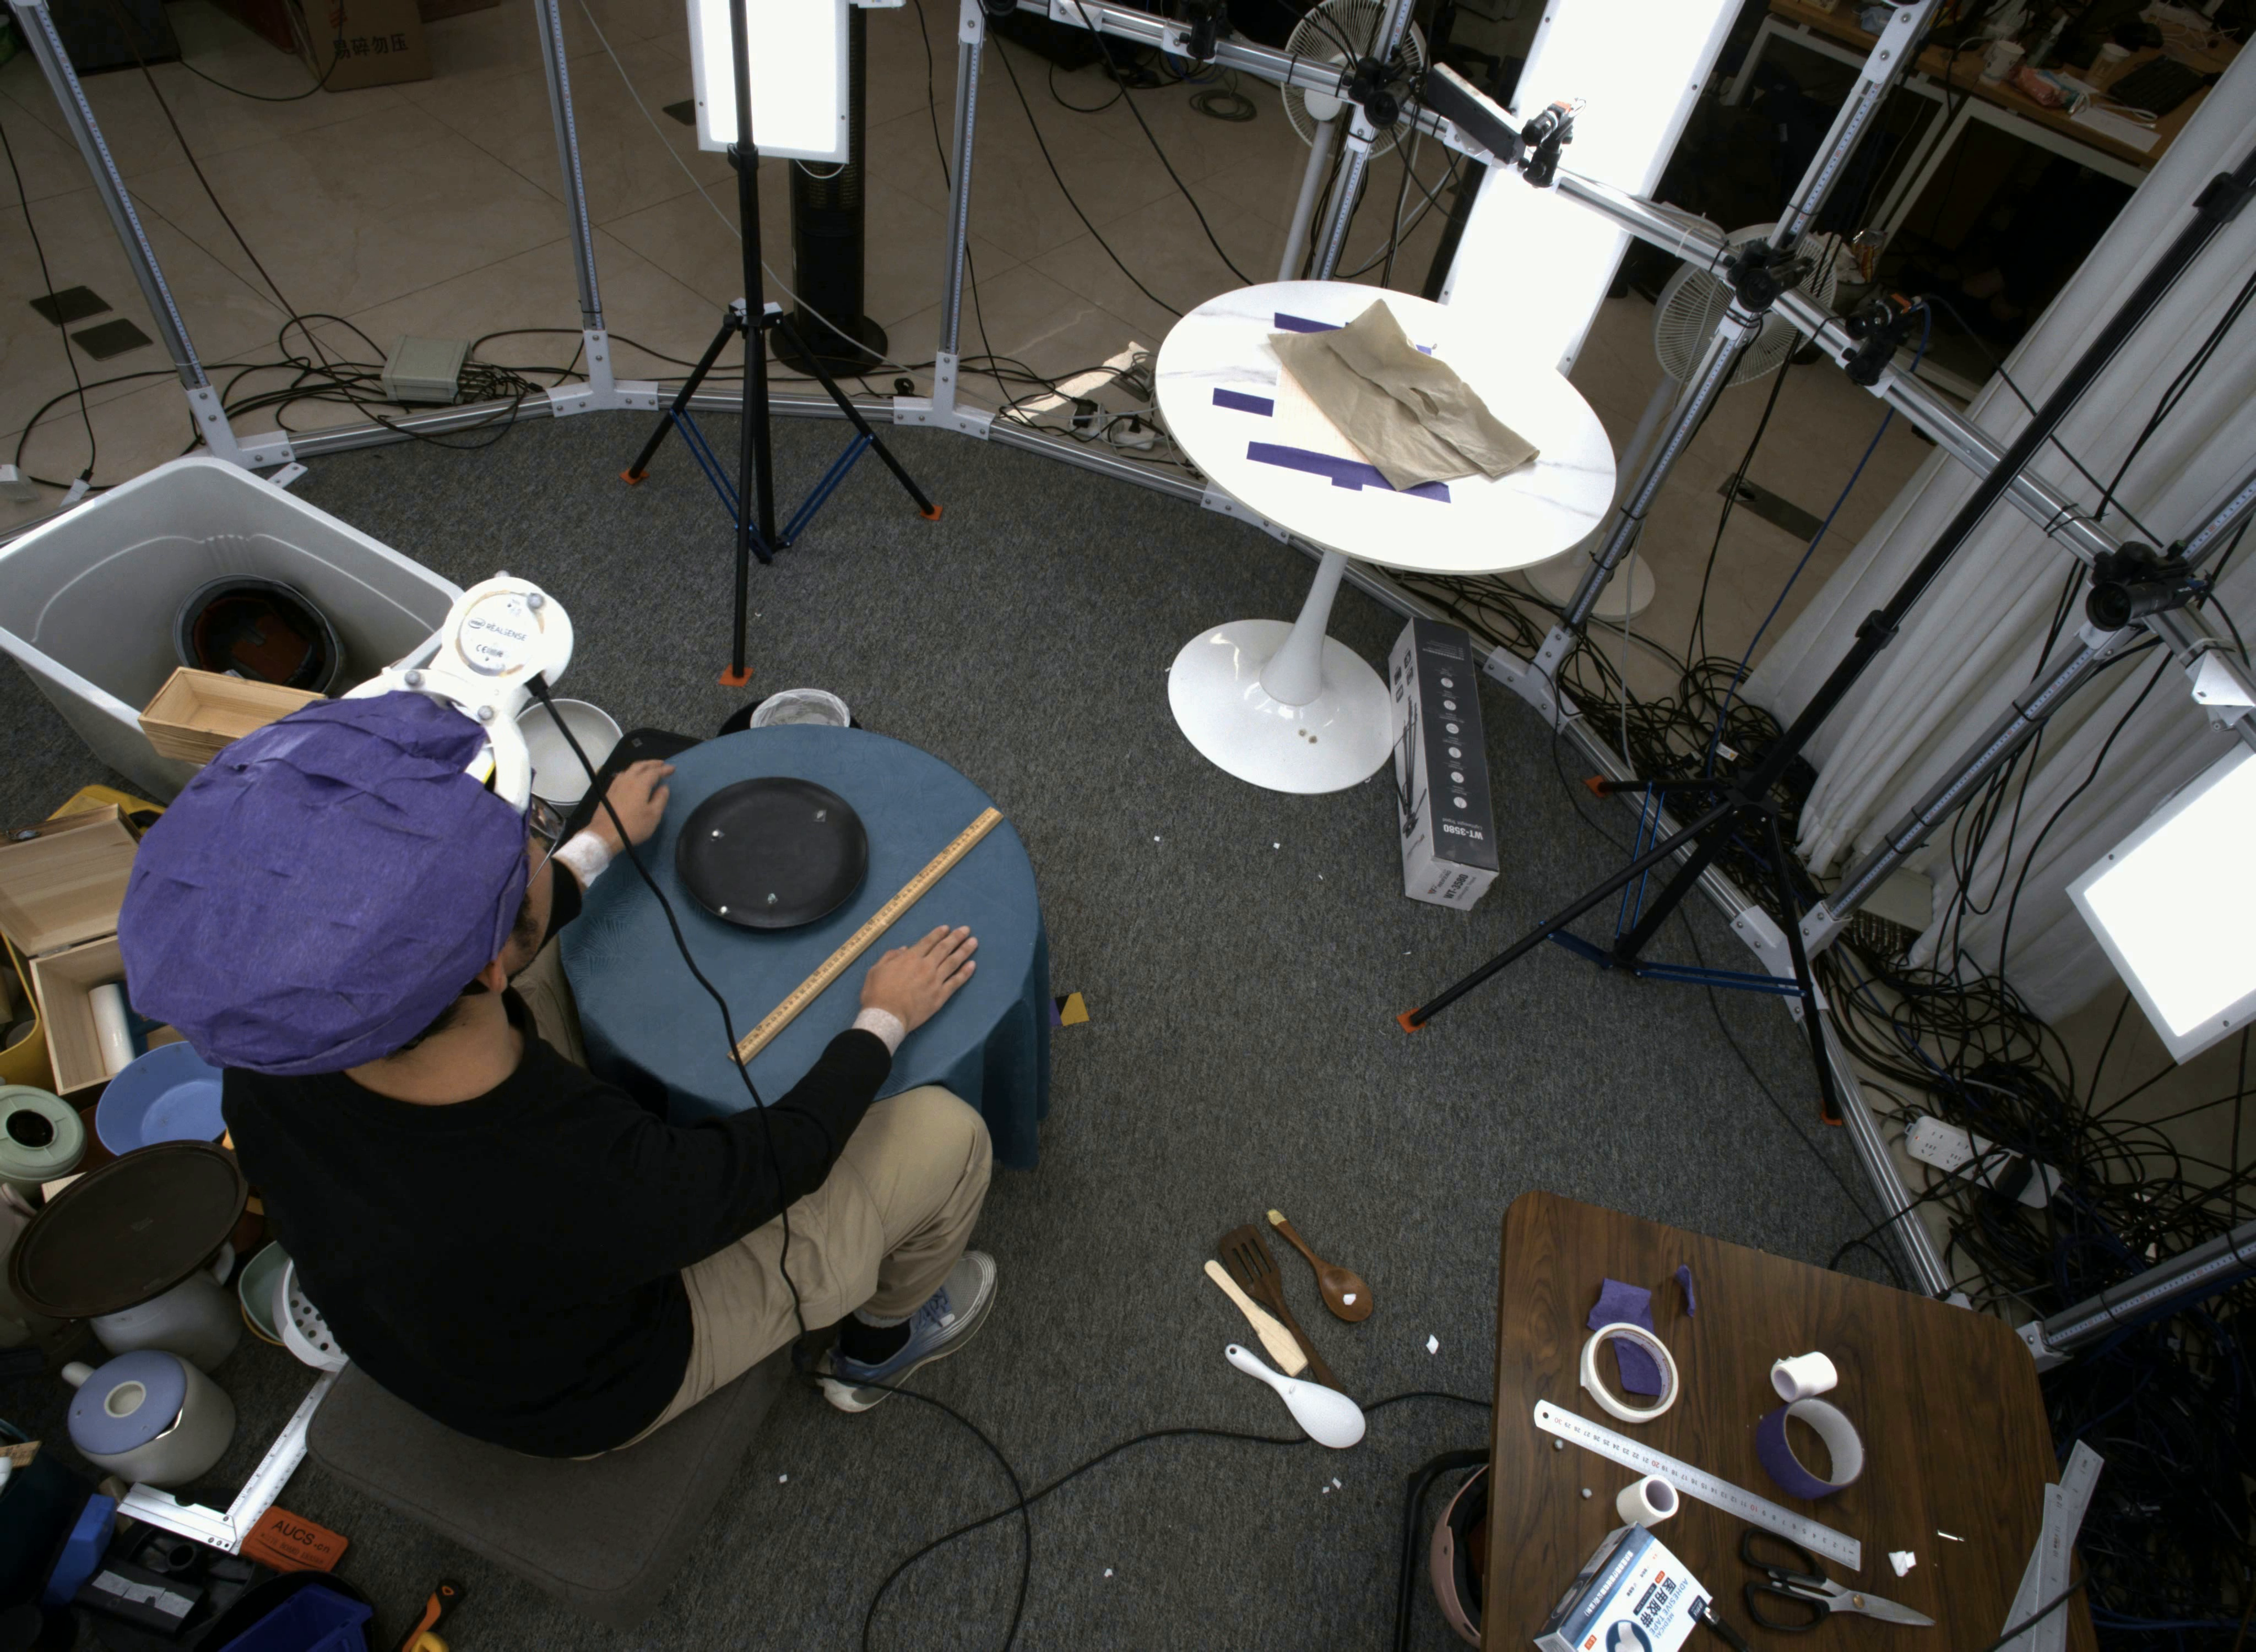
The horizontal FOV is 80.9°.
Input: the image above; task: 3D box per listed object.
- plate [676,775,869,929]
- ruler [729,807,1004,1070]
[{"bbox_3d":[-0.458,0.034,1.669,0.244,0.024,0.240,8,53,-9],"label":"plate"},{"bbox_3d":[-0.319,0.126,1.649,0.026,0.006,0.500,34,53,13],"label":"ruler"}]
